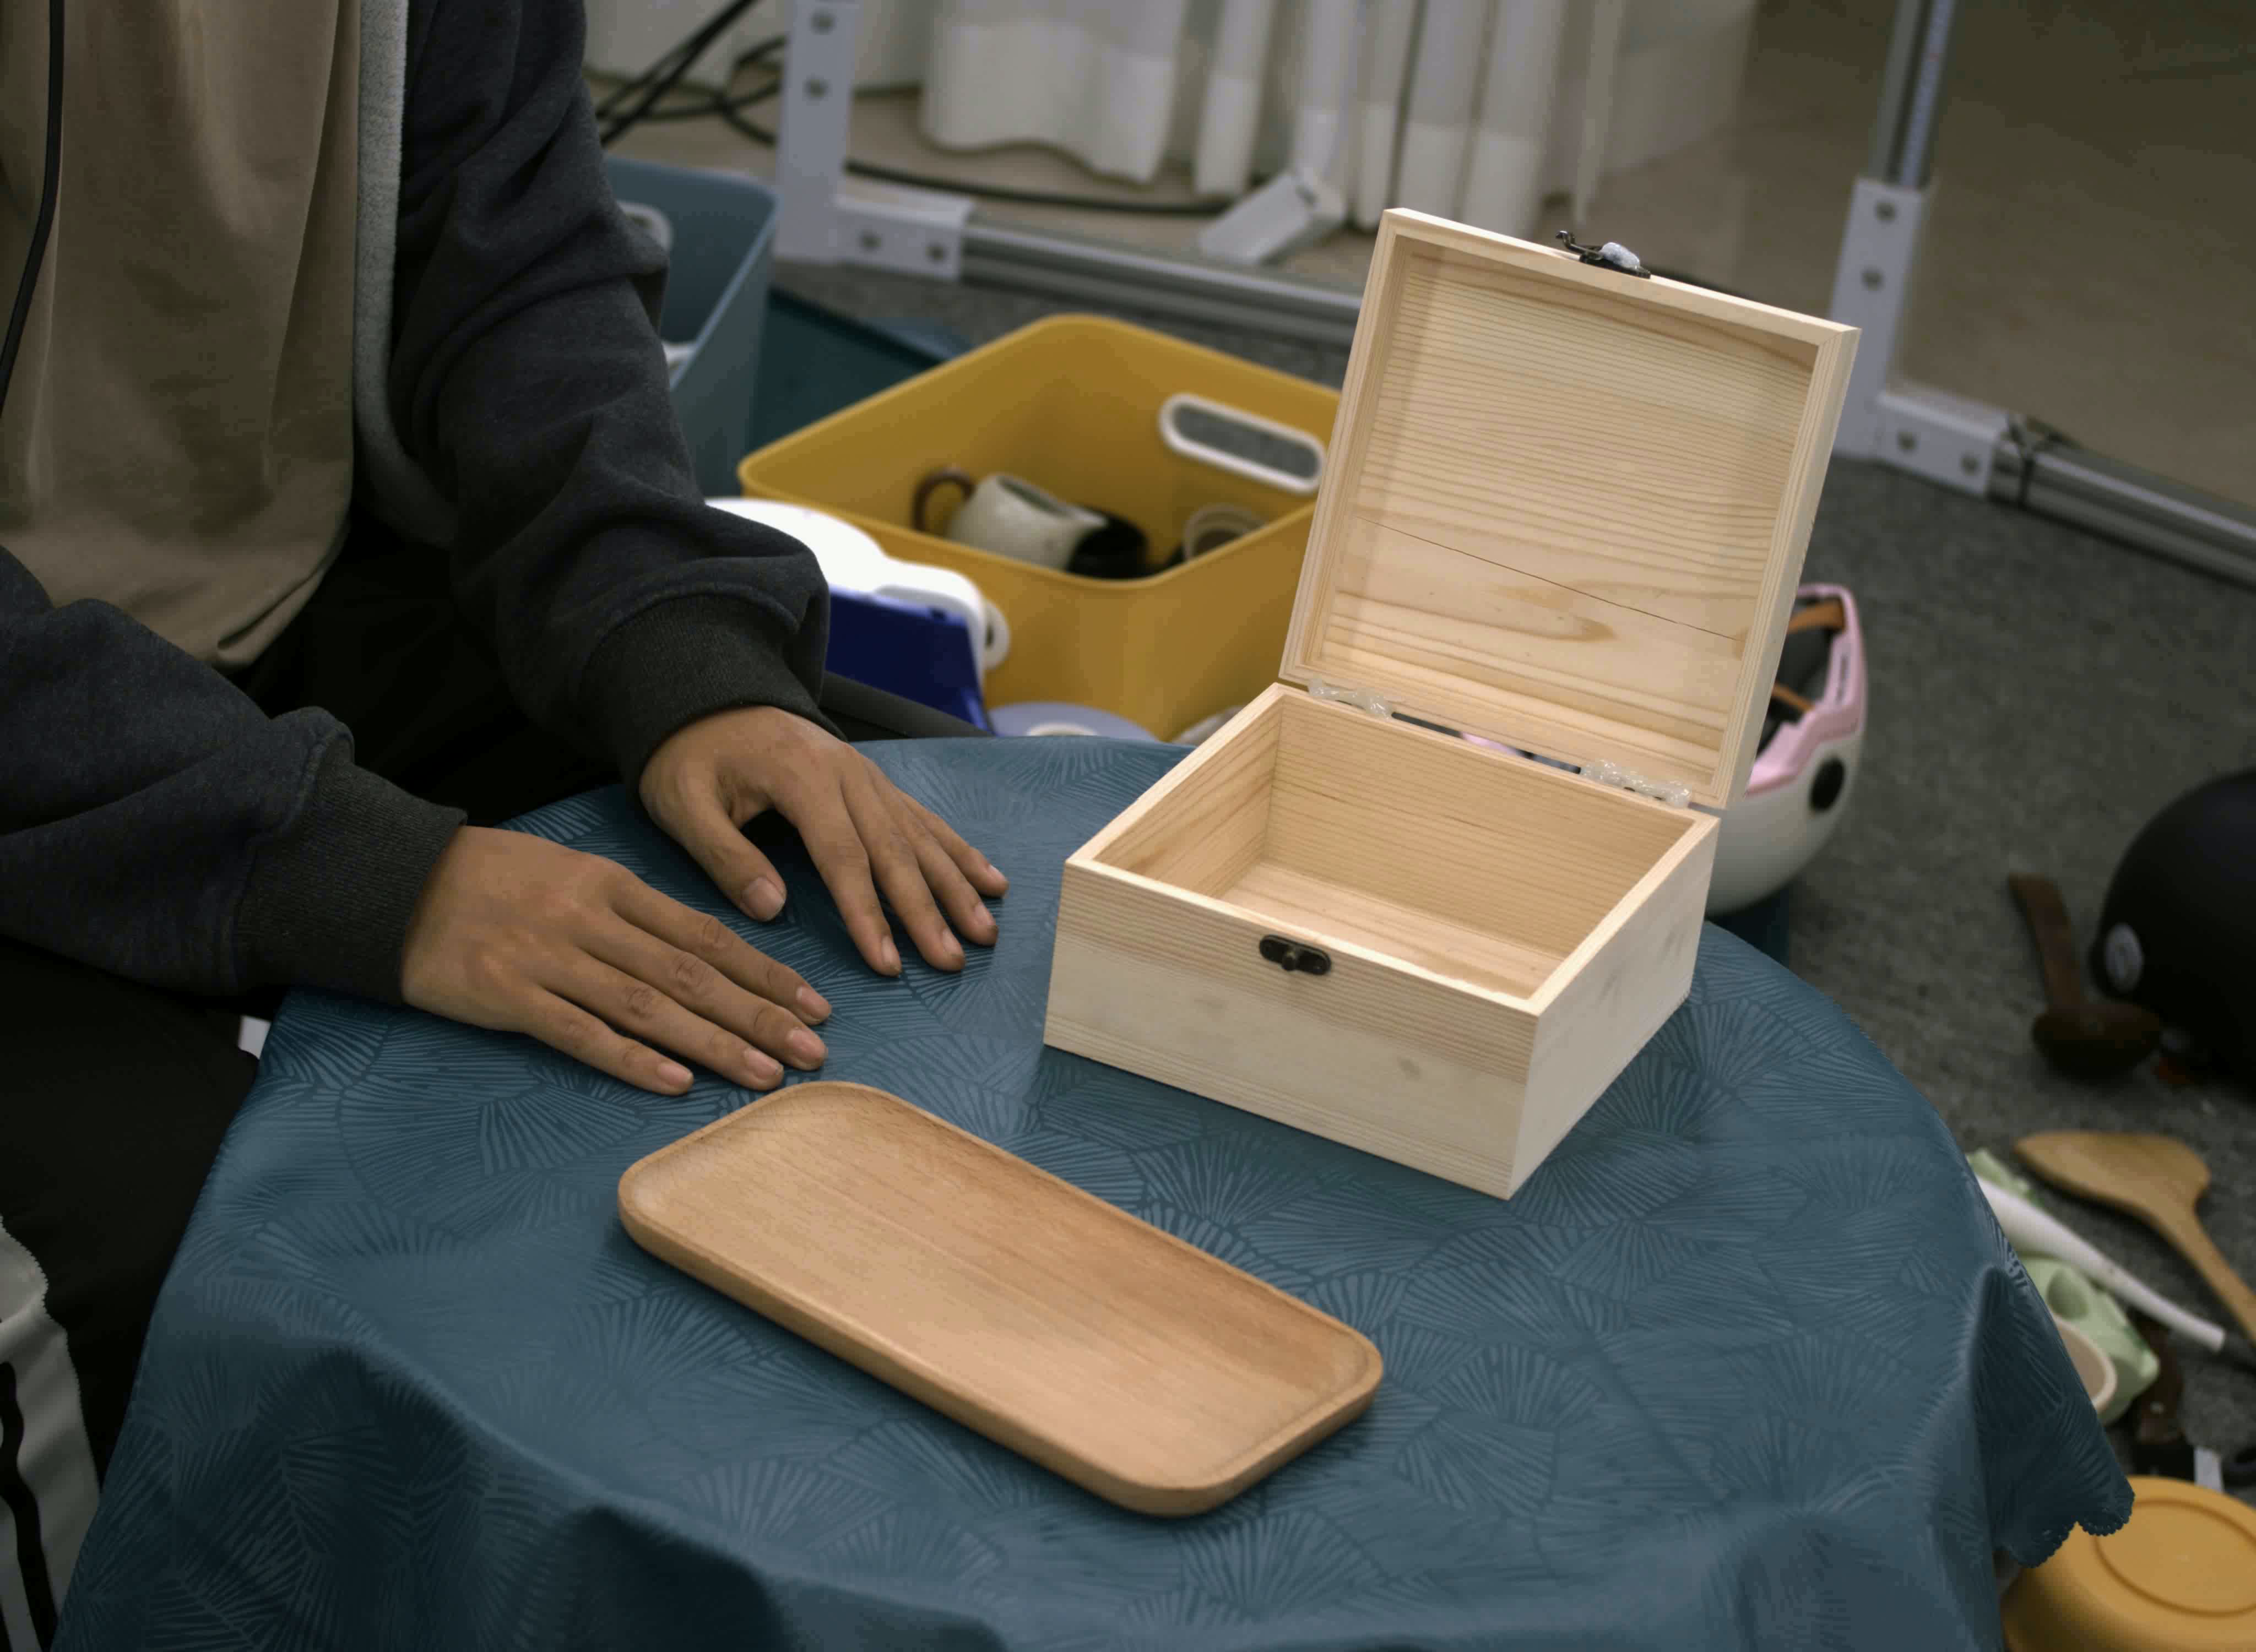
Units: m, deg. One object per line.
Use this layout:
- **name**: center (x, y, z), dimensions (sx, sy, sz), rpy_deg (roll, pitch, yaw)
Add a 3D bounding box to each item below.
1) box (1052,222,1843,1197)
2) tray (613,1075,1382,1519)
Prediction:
- **box**: center (0.115, -0.051, 1.902), dimensions (0.182, 0.252, 0.265), rpy_deg (15, 26, 21)
- **tray**: center (-0.044, 0.150, 1.720), dimensions (0.252, 0.023, 0.130), rpy_deg (25, 29, 32)
